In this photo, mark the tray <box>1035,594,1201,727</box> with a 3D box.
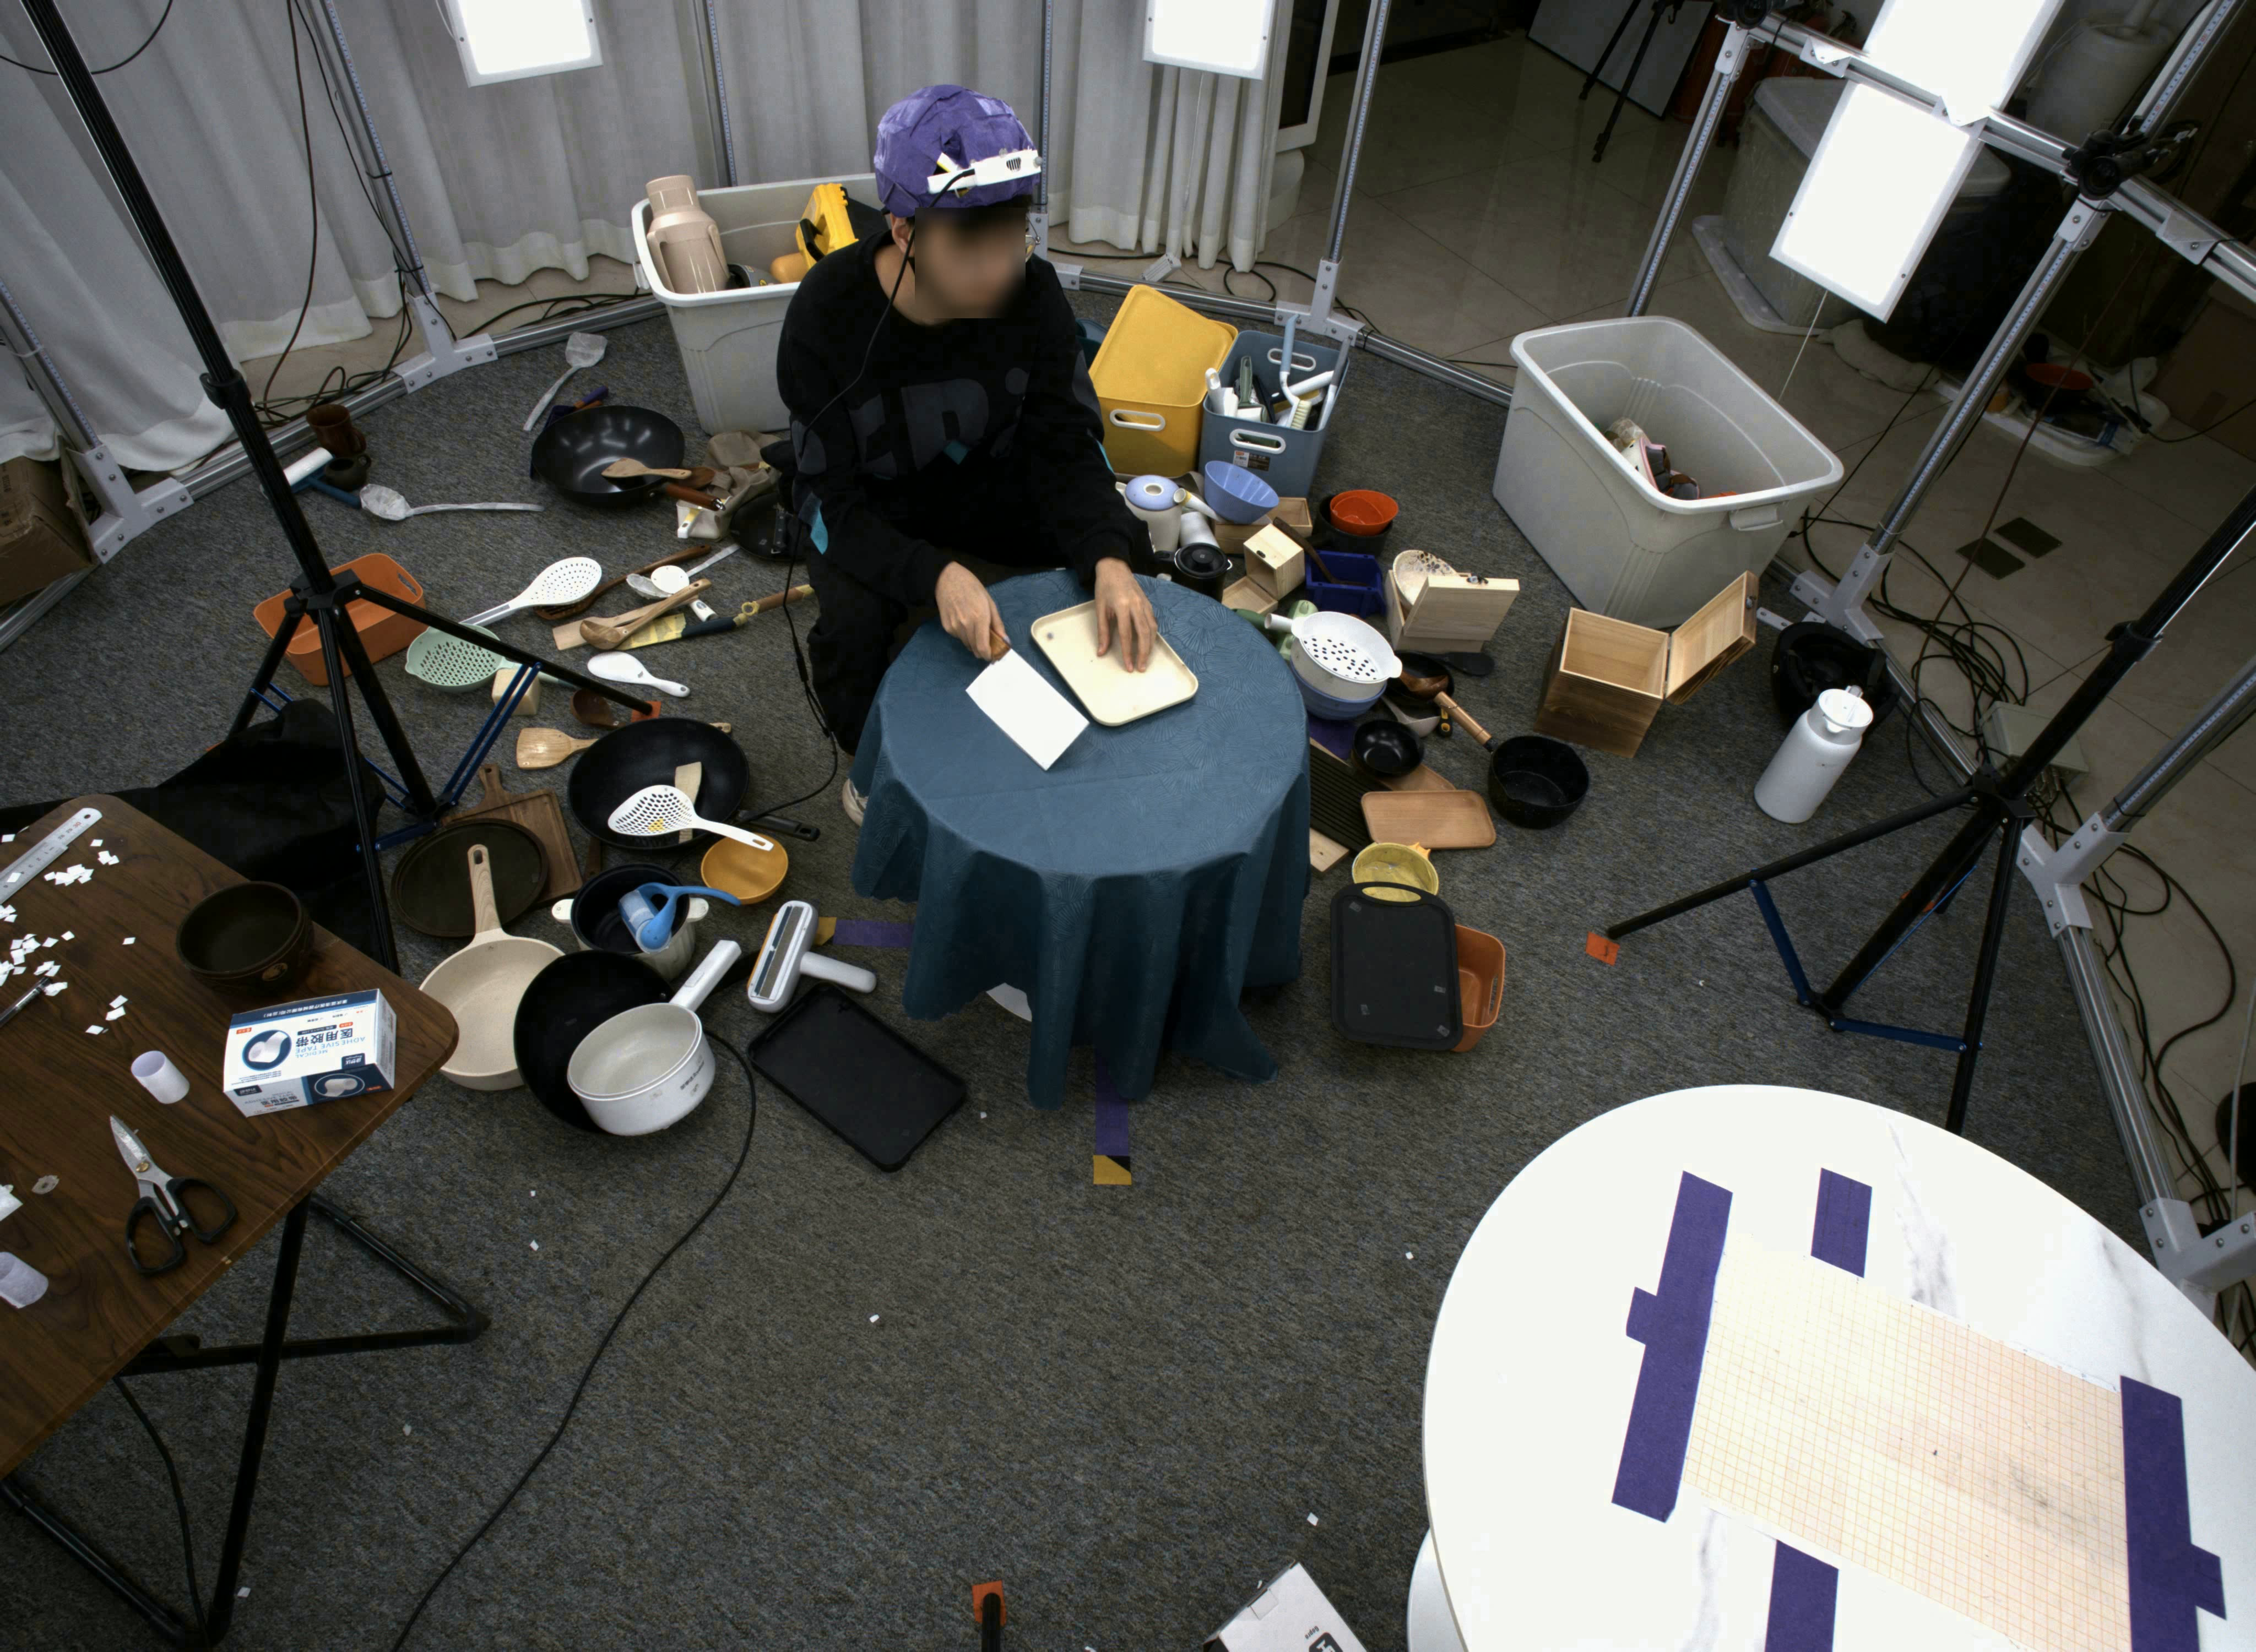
[{"bbox_3d":[-0.016,-0.242,1.865,0.172,0.017,0.245,-22,54,-19],"label":"tray"}]

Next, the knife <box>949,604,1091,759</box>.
[{"bbox_3d":[-0.171,-0.201,1.798,0.093,0.020,0.311,-46,60,1],"label":"knife"}]
